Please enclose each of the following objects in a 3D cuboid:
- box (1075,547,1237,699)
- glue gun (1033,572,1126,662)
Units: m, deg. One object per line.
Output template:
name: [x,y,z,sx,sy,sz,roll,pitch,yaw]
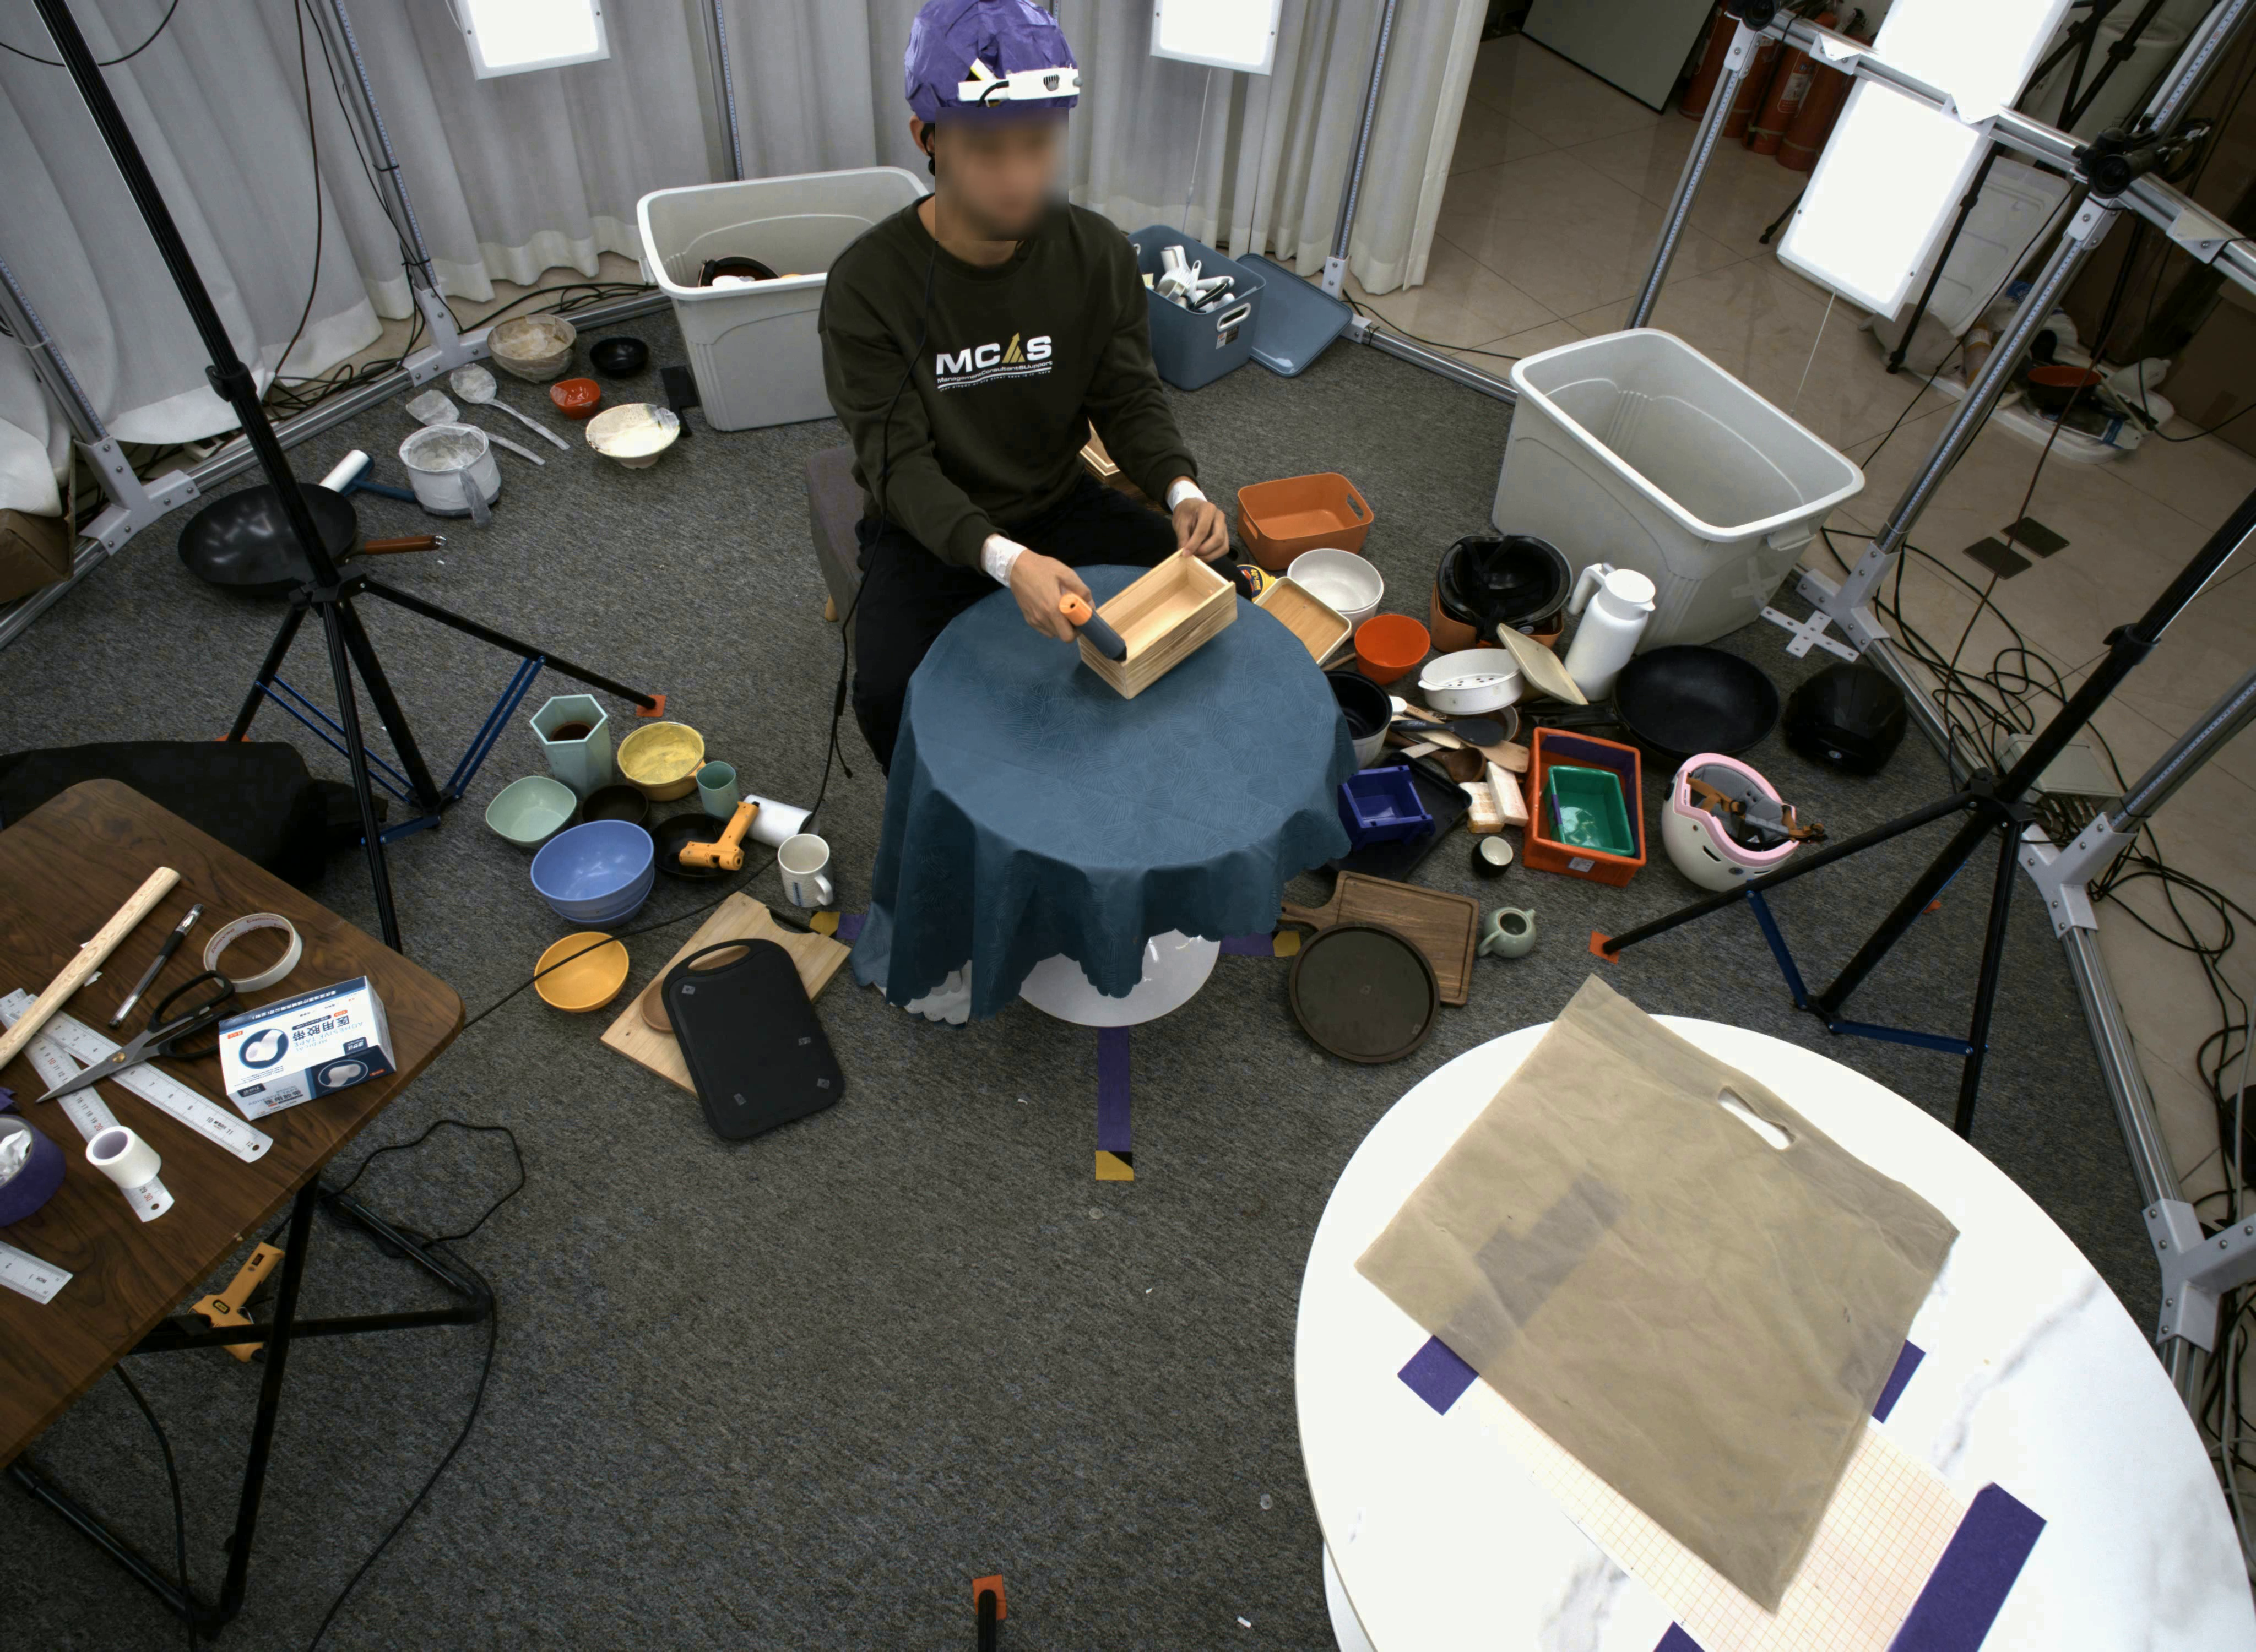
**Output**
box: [0.042,-0.292,1.839,0.213,0.078,0.109,-38,60,-17]
glue gun: [-0.065,-0.285,1.755,0.041,0.115,0.142,-46,49,0]
